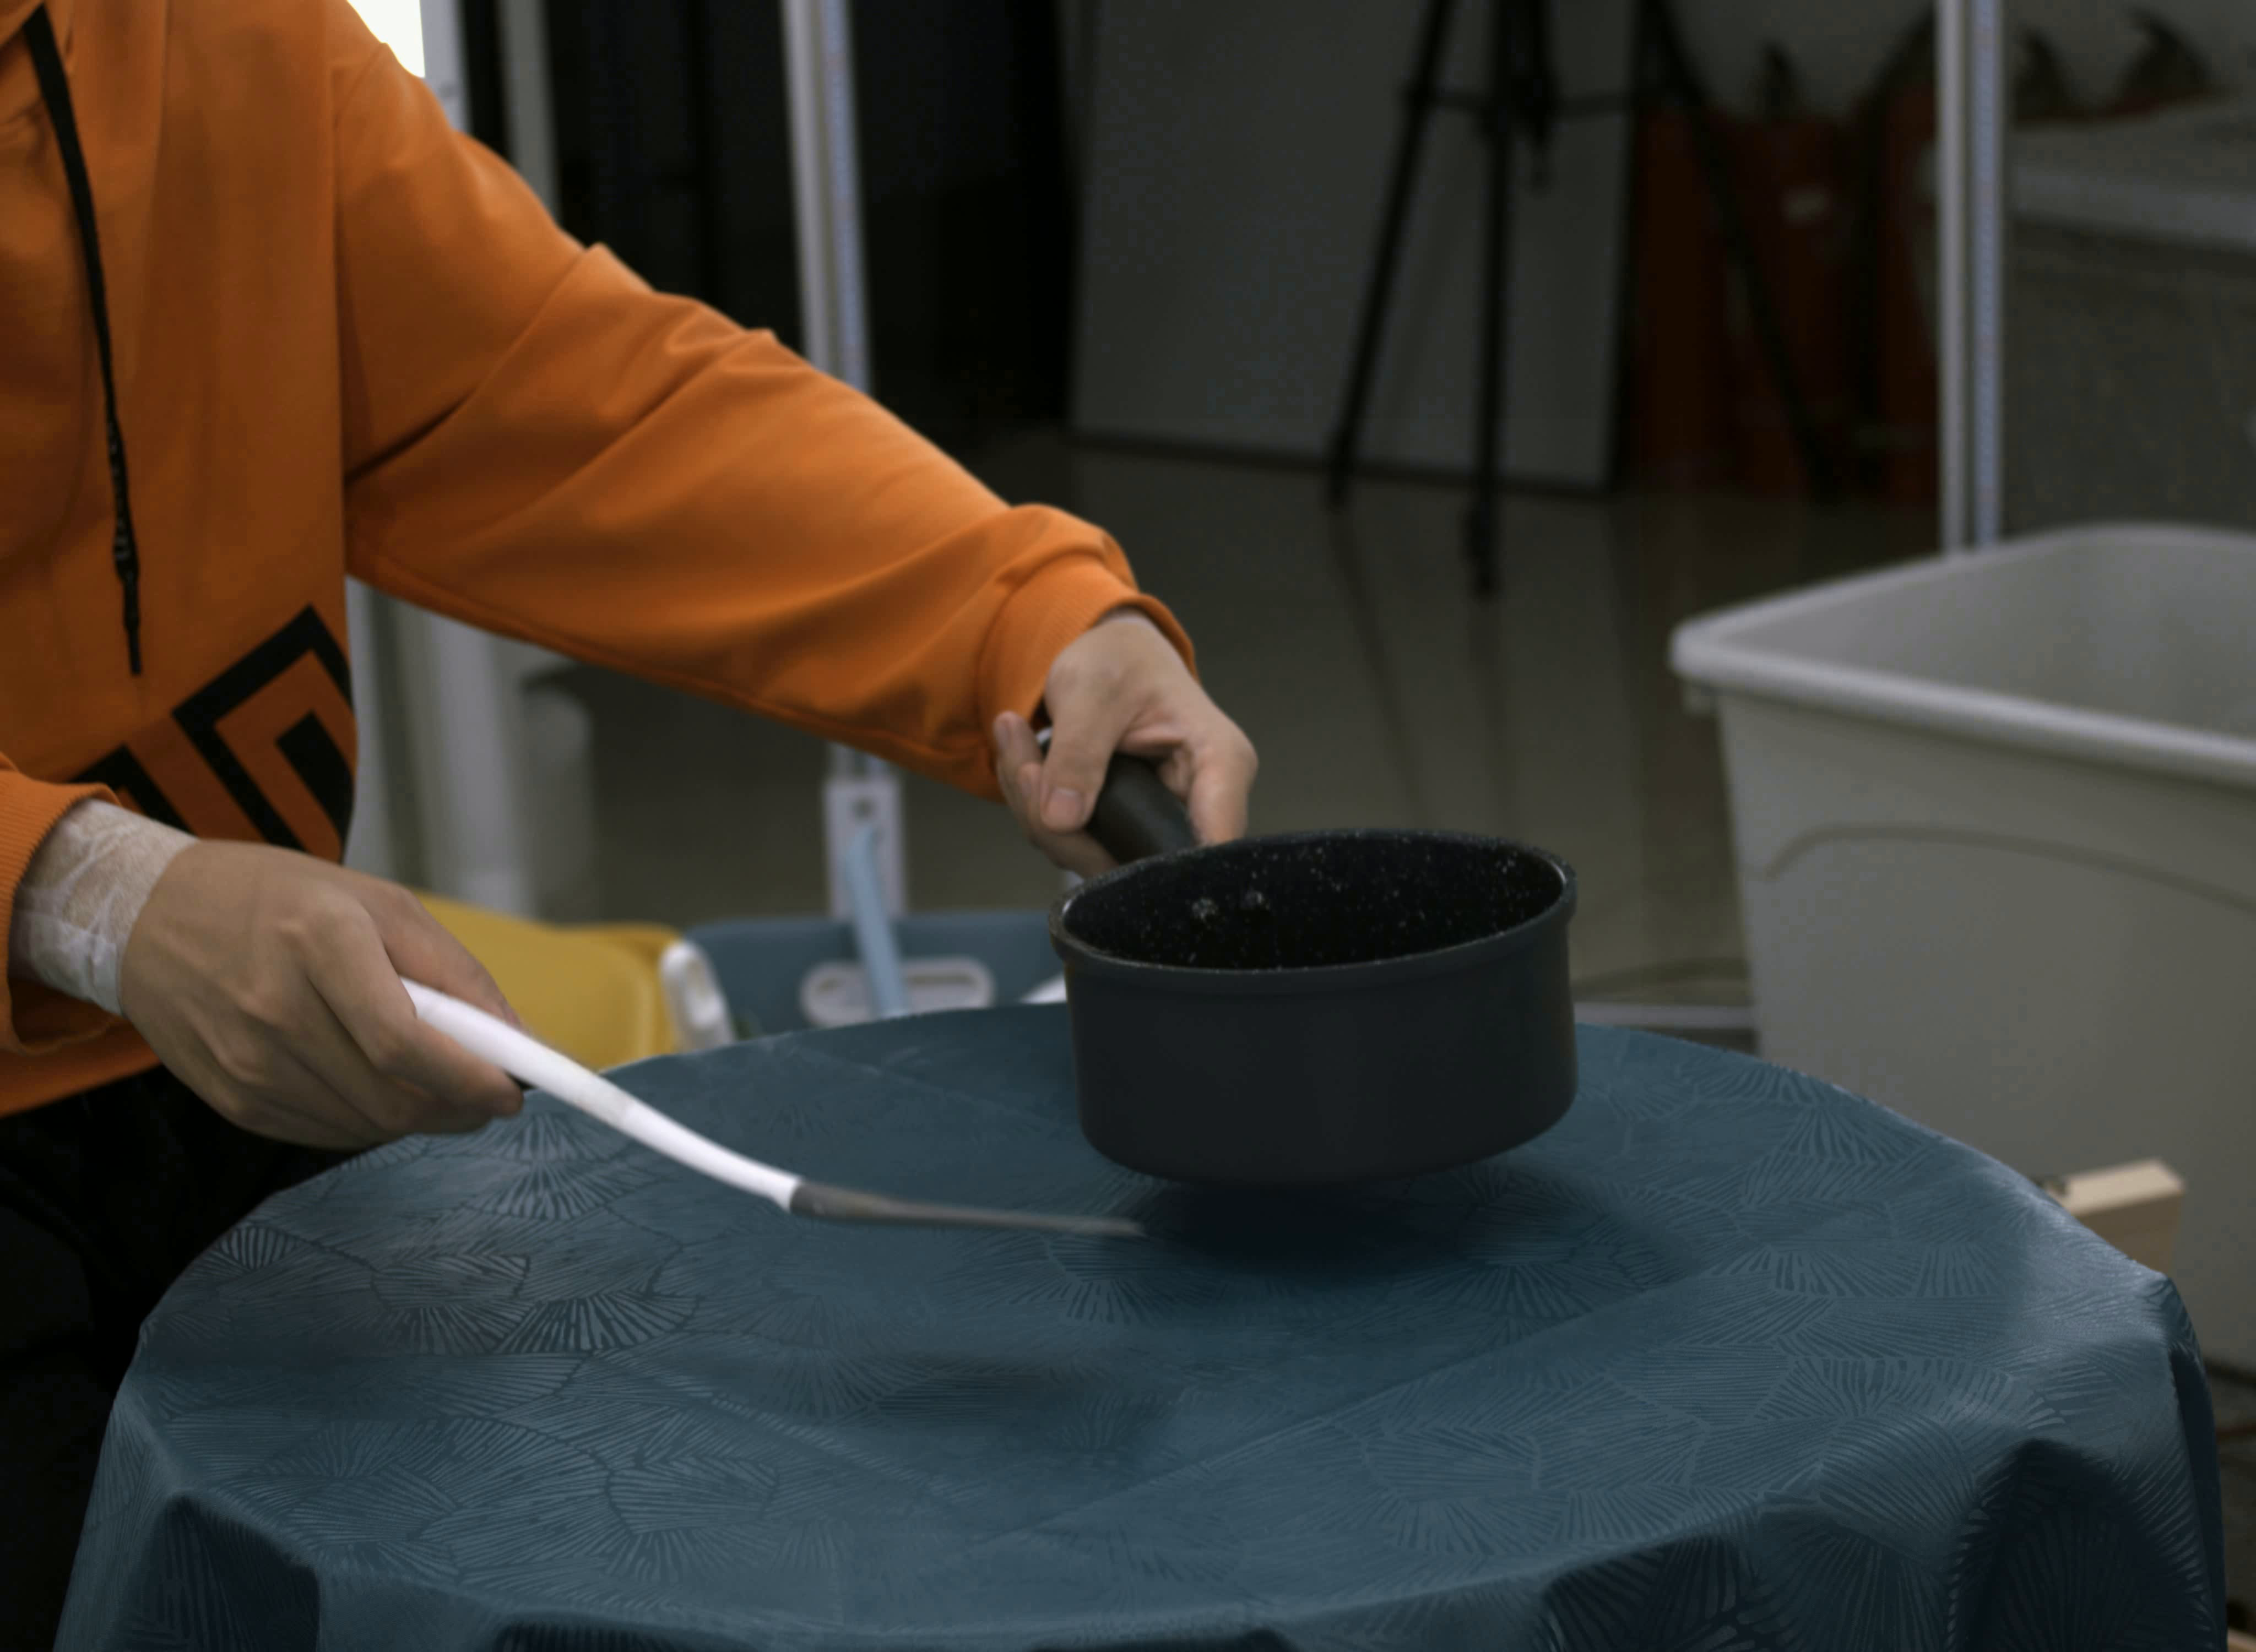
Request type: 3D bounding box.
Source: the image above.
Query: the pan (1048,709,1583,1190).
[{"bbox_3d":[0.038,0.037,1.799,0.169,0.087,0.331,-9,15,-15],"label":"pan"}]

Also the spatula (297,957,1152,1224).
[{"bbox_3d":[-0.126,0.090,1.635,0.288,0.032,0.058,15,-2,26],"label":"spatula"}]
